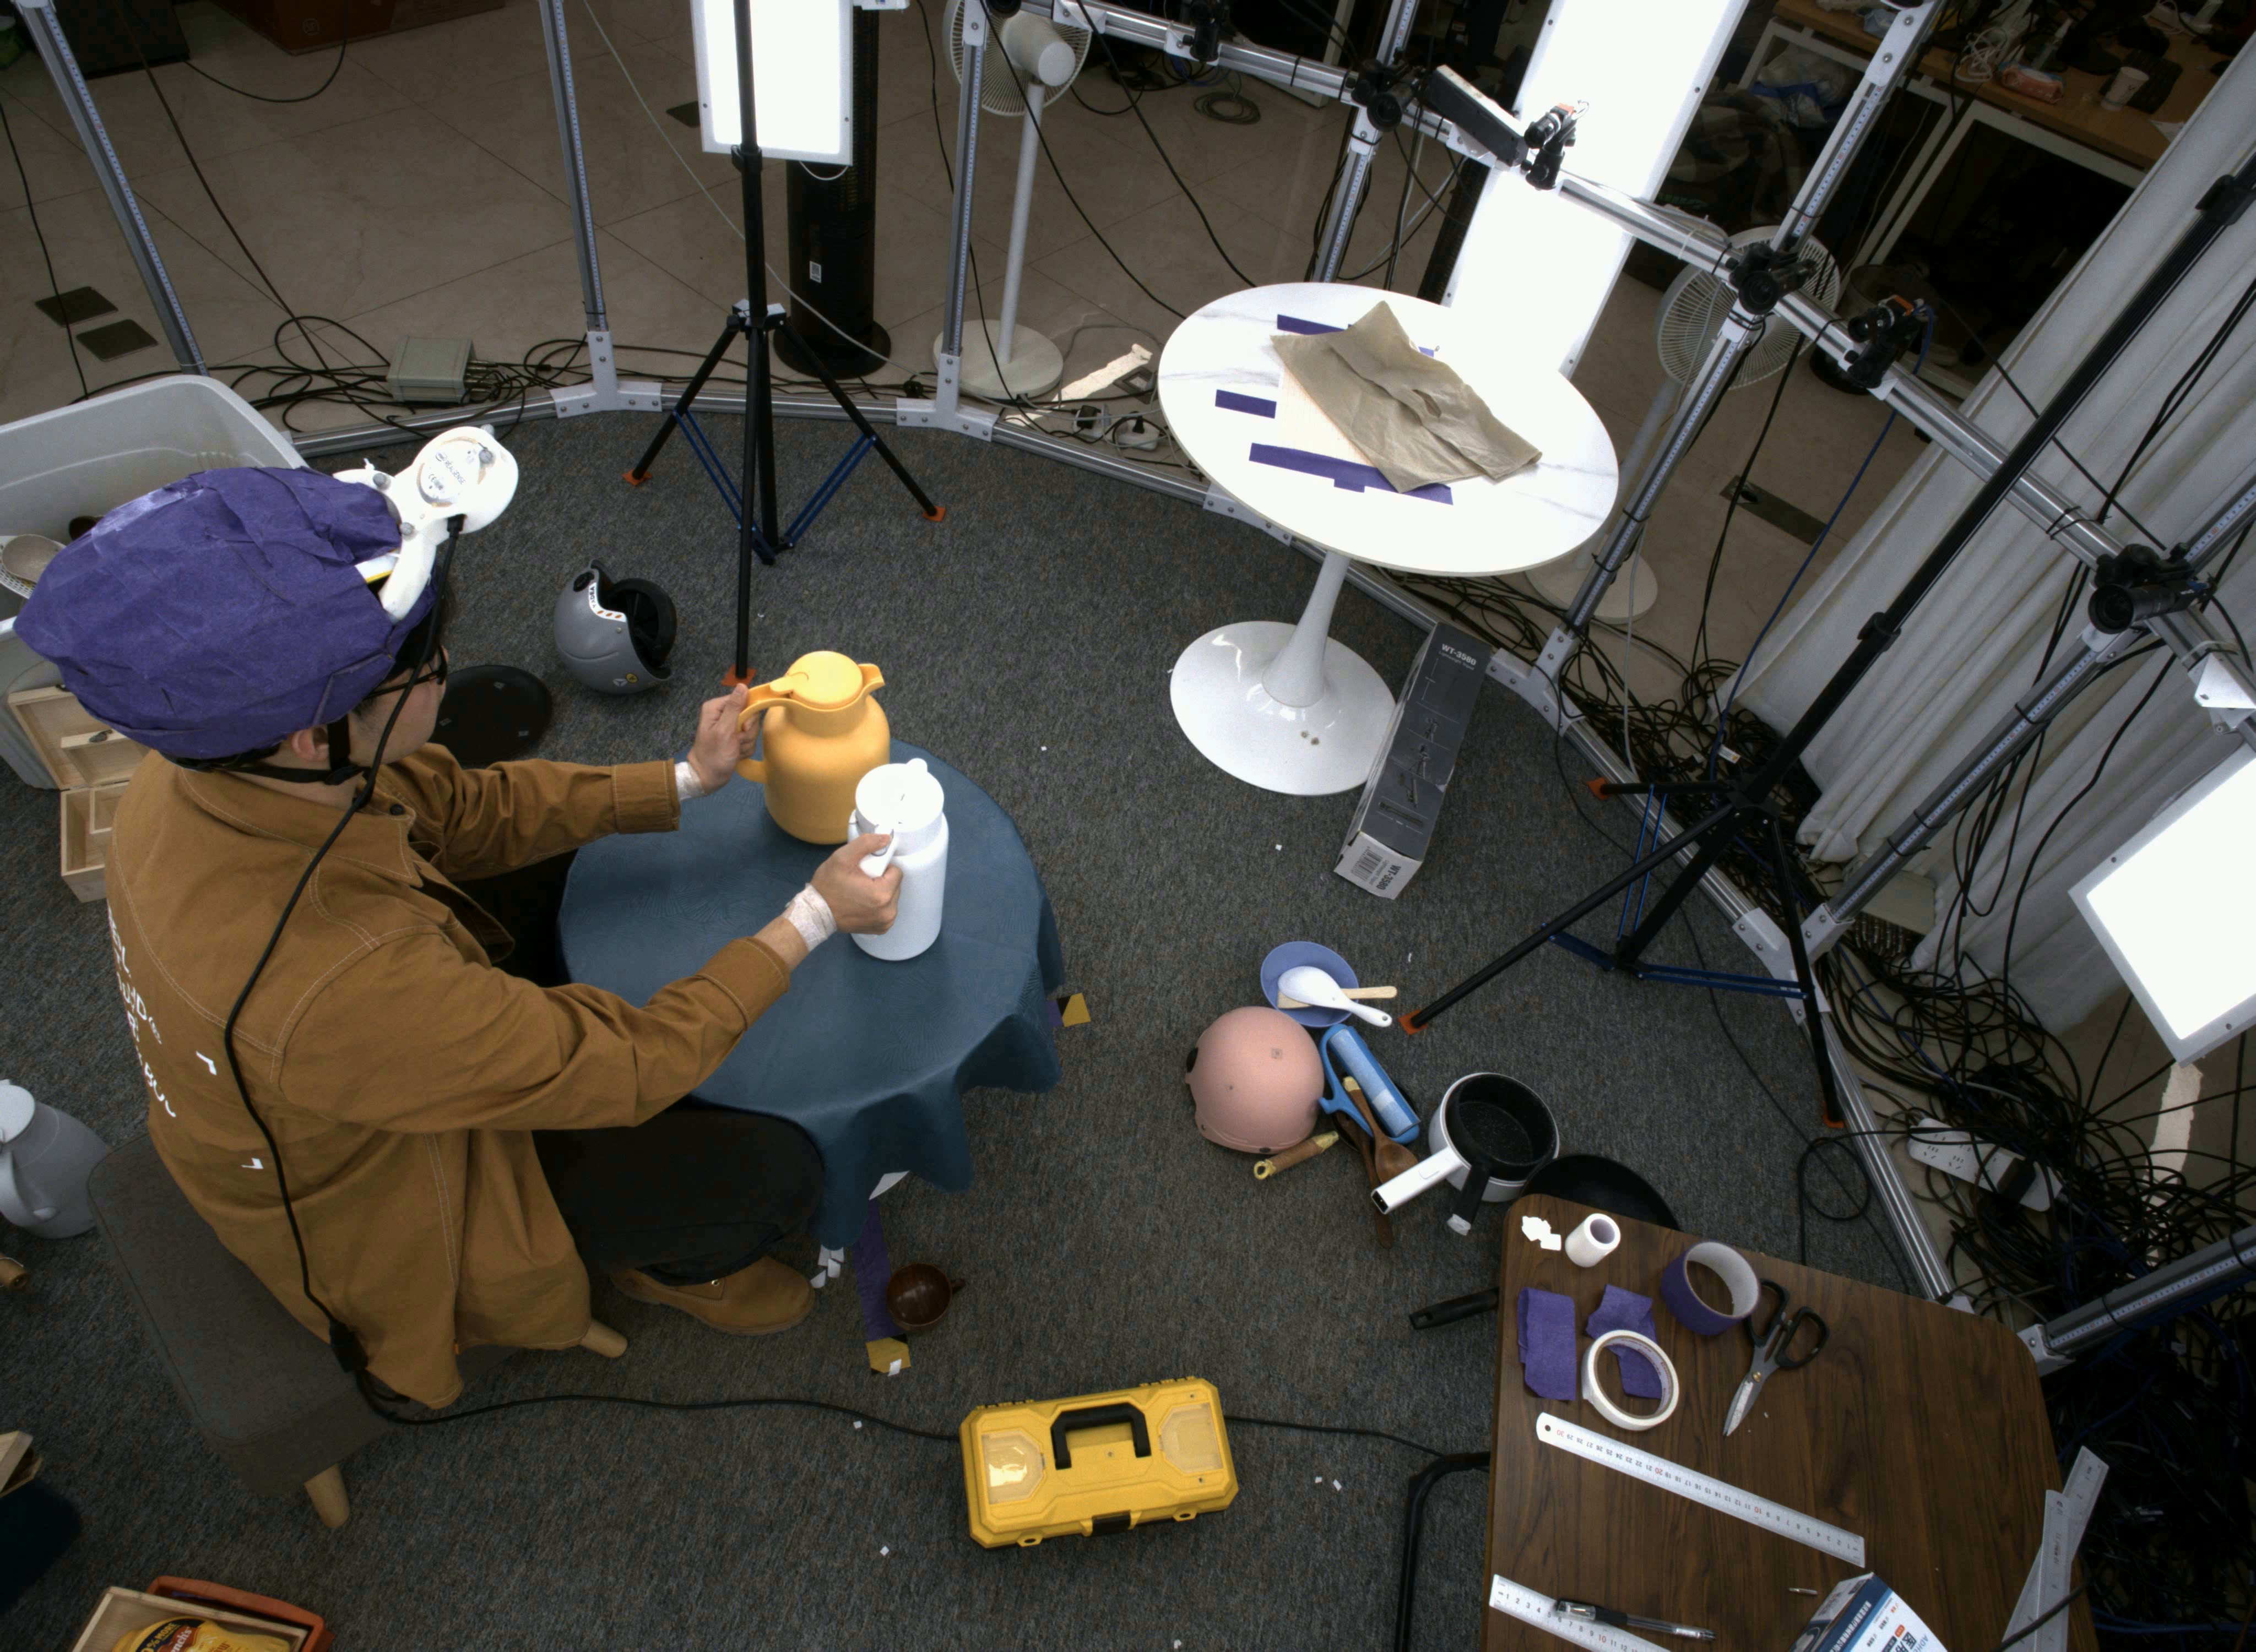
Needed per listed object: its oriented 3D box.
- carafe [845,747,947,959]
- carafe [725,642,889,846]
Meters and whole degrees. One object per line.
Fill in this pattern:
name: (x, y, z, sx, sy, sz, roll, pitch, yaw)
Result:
carafe: (-0.281, 0.054, 1.545, 0.123, 0.274, 0.171, 17, 52, 0)
carafe: (-0.403, -0.106, 1.635, 0.203, 0.266, 0.159, -10, 52, -22)
